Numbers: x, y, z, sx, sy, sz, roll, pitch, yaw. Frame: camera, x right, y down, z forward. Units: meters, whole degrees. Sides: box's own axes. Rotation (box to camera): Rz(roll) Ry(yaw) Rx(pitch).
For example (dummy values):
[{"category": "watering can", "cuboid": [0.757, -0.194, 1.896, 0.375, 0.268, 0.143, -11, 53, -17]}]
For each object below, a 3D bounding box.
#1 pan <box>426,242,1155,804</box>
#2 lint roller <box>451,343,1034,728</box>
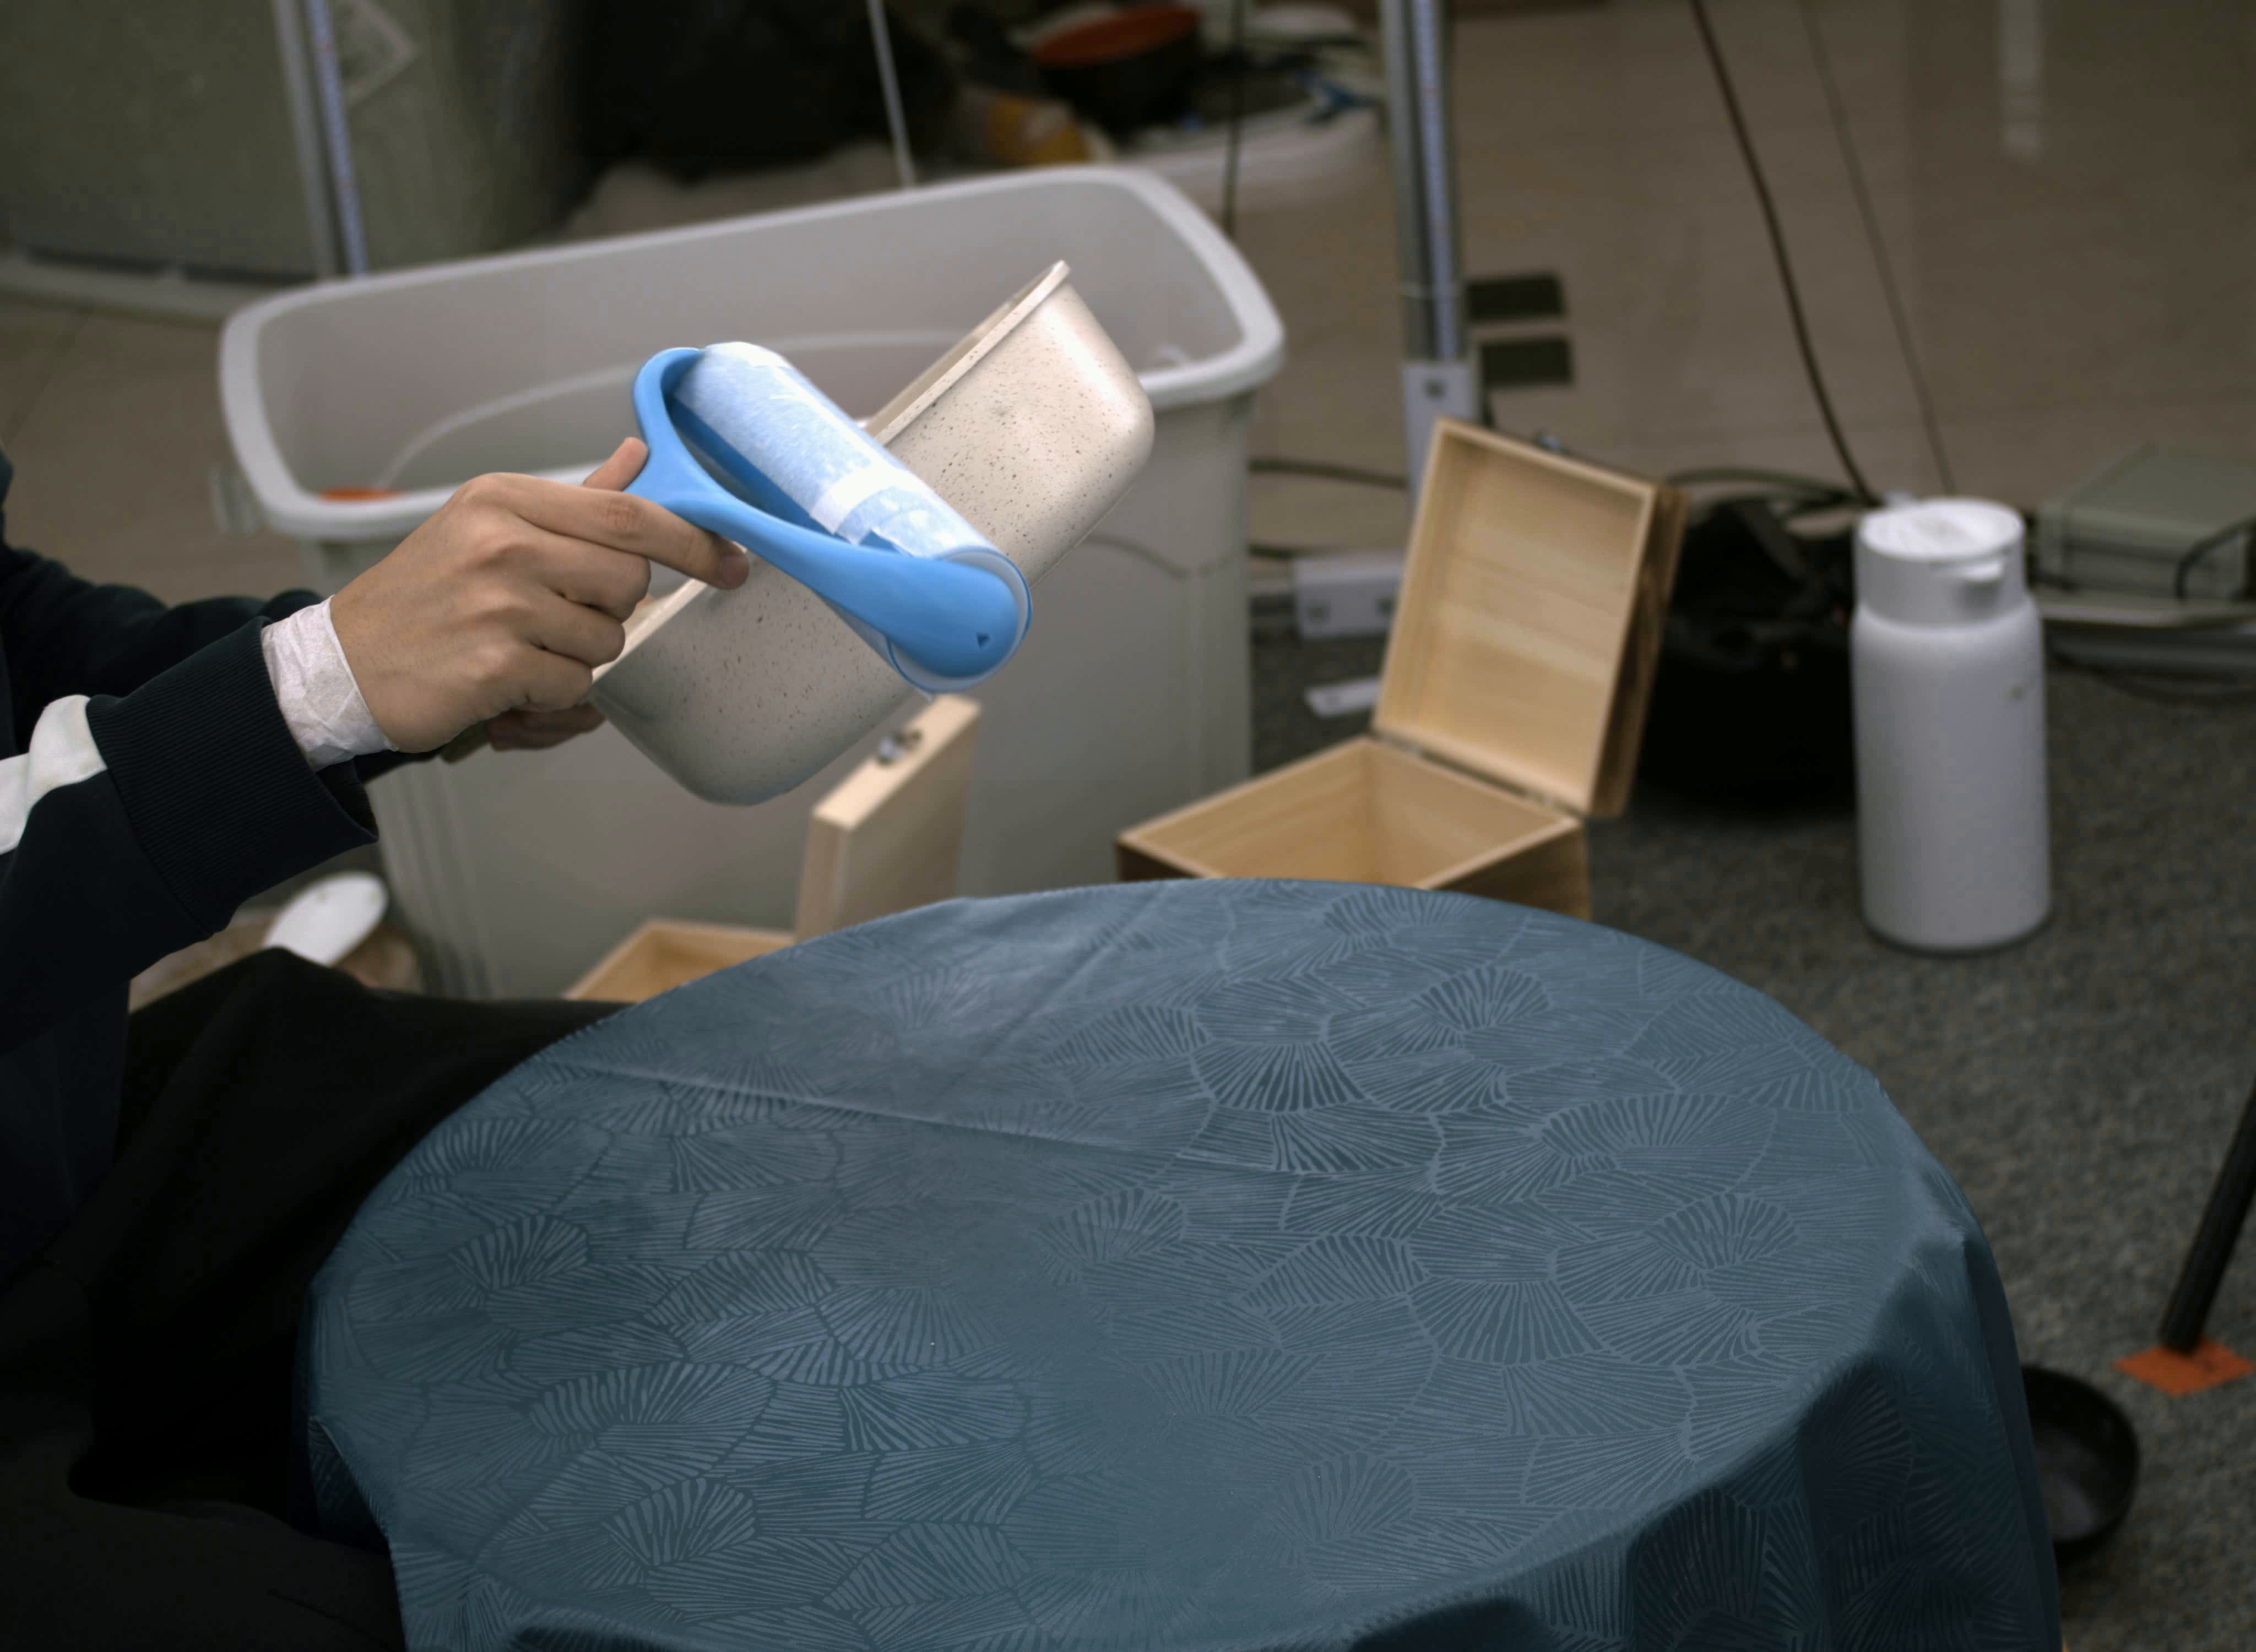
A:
[{"category": "pan", "cuboid": [-0.144, -0.079, 2.223, 0.260, 0.102, 0.439, -49, 9, -38]}, {"category": "lint roller", "cuboid": [-0.151, -0.090, 1.936, 0.179, 0.069, 0.226, -22, 37, -23]}]
